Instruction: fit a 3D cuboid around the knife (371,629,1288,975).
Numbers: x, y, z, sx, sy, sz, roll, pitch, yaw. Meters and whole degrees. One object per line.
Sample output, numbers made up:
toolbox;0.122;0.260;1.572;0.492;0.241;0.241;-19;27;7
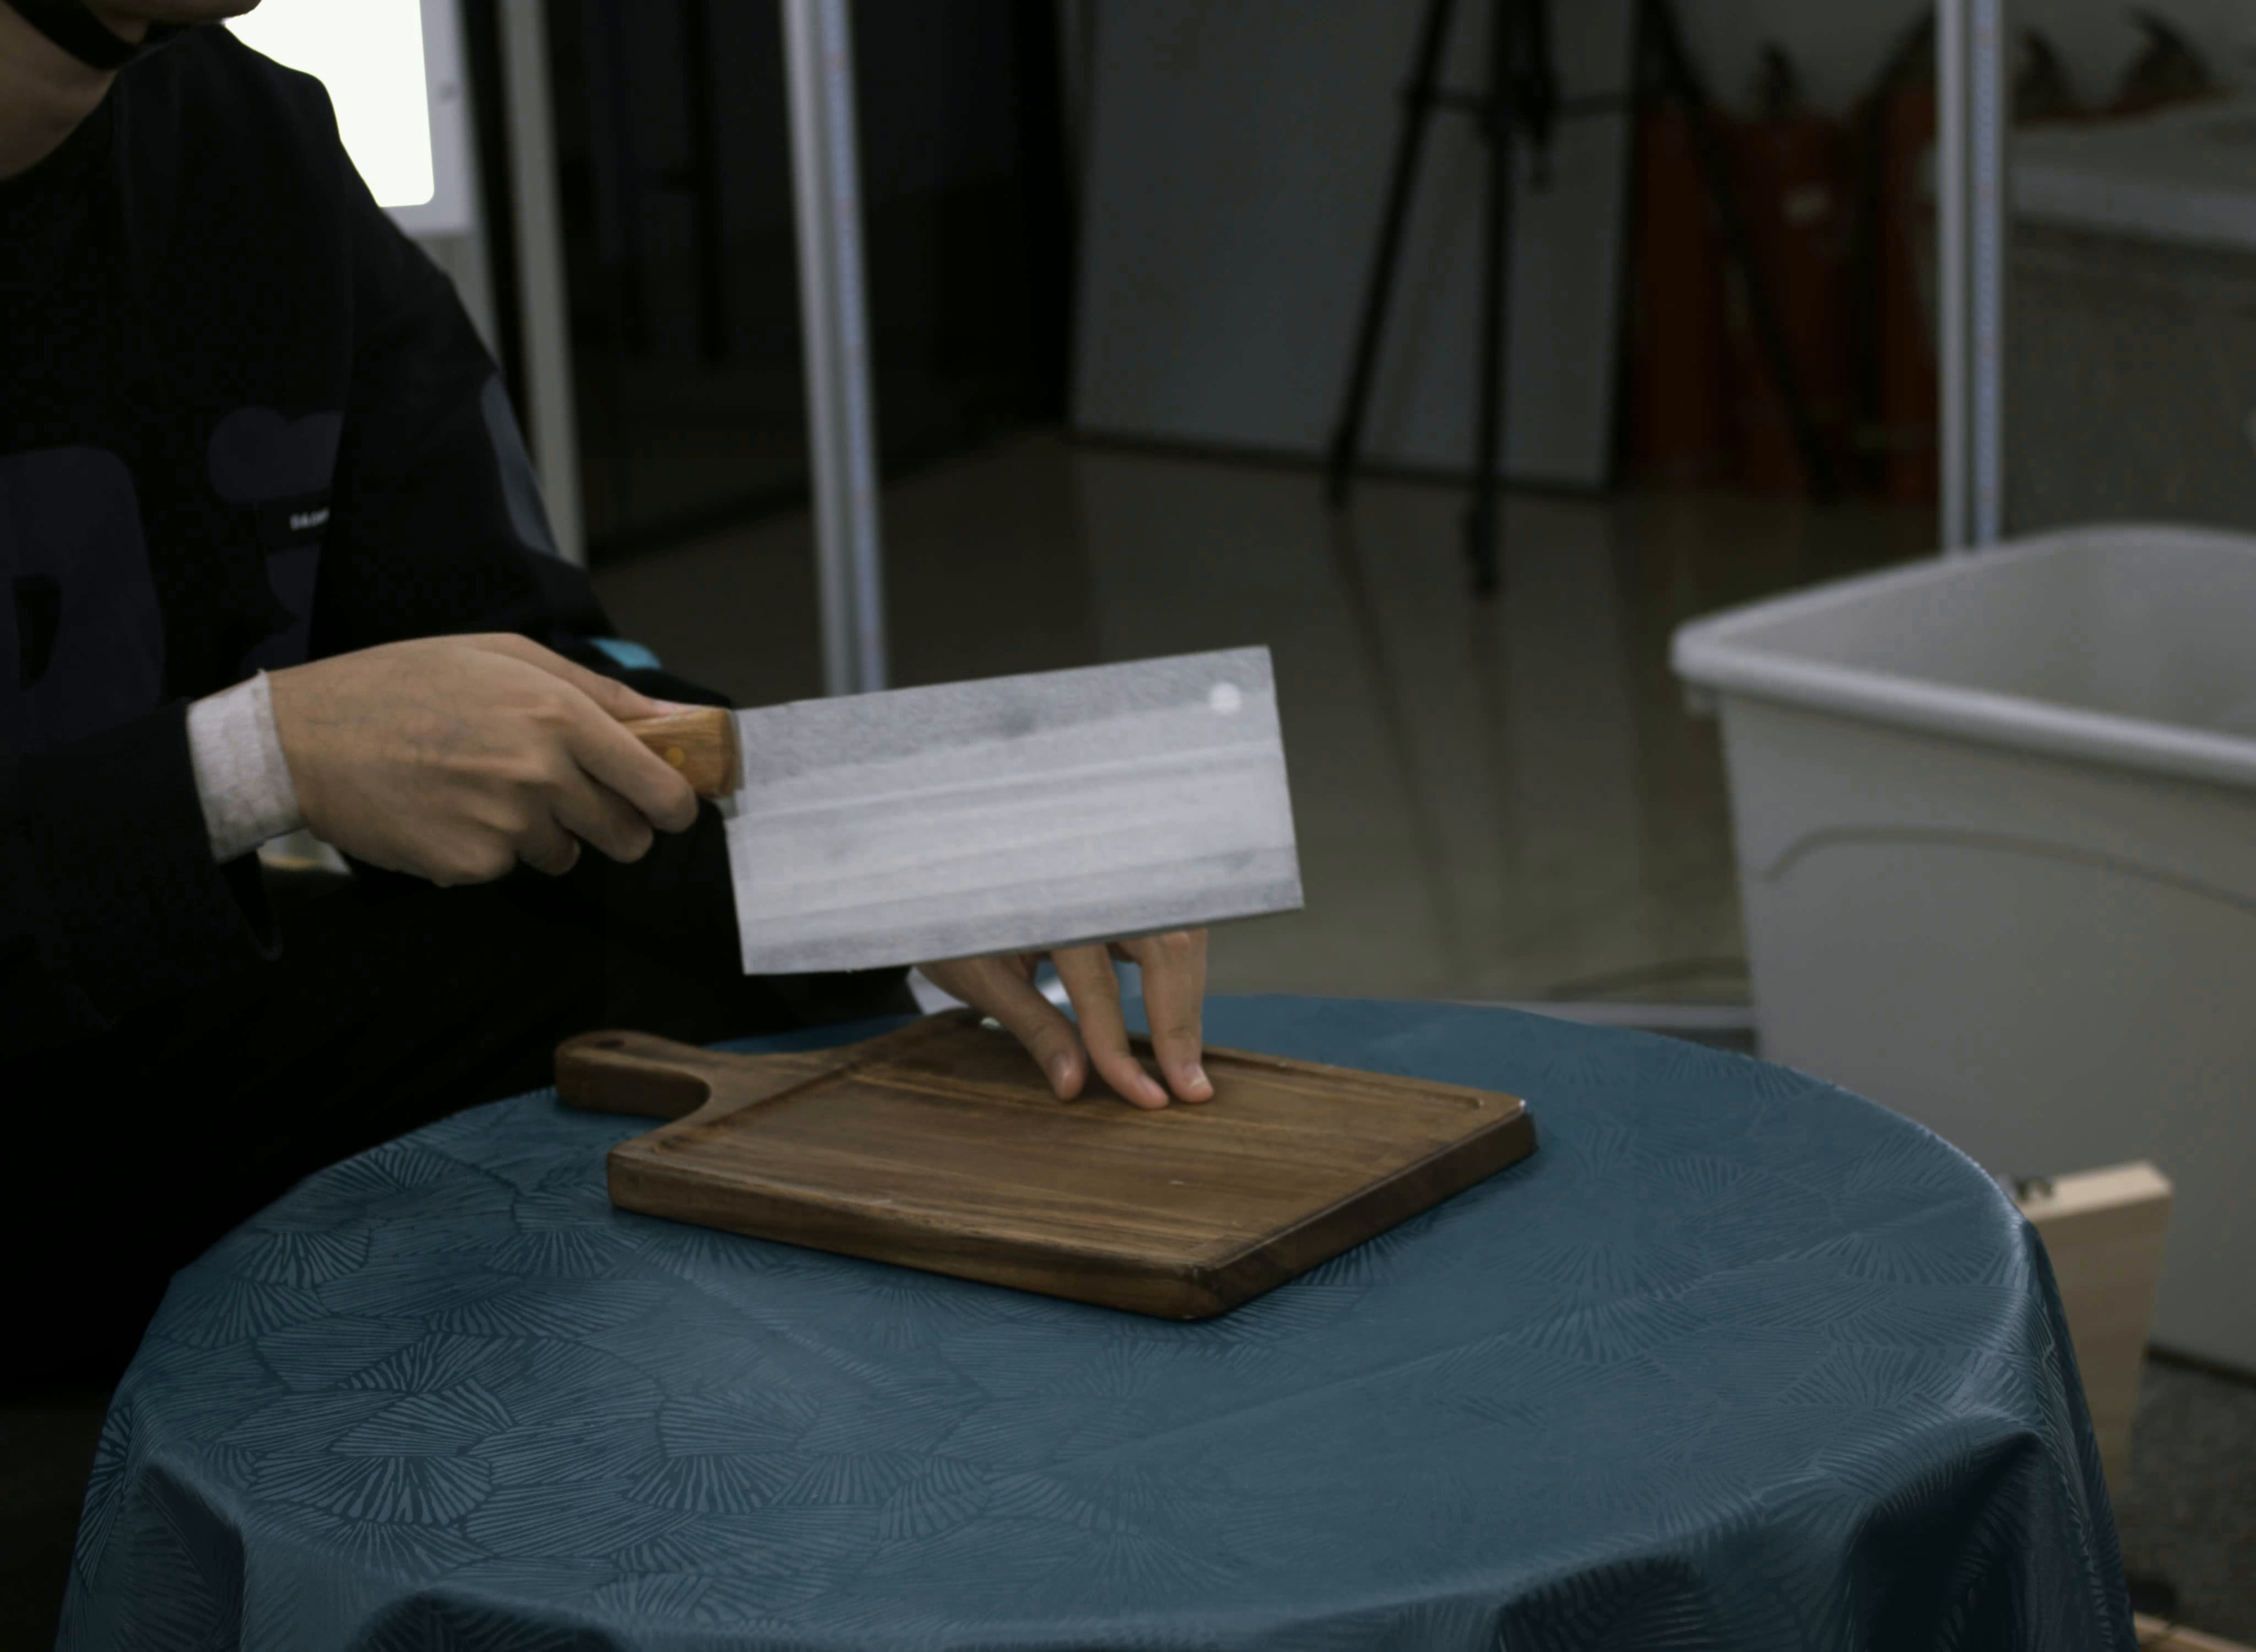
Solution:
knife;-0.098;-0.001;1.776;0.303;0.094;0.021;-8;6;10

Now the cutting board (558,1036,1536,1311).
cutting board;-0.056;0.108;1.813;0.354;0.023;0.197;4;15;38
